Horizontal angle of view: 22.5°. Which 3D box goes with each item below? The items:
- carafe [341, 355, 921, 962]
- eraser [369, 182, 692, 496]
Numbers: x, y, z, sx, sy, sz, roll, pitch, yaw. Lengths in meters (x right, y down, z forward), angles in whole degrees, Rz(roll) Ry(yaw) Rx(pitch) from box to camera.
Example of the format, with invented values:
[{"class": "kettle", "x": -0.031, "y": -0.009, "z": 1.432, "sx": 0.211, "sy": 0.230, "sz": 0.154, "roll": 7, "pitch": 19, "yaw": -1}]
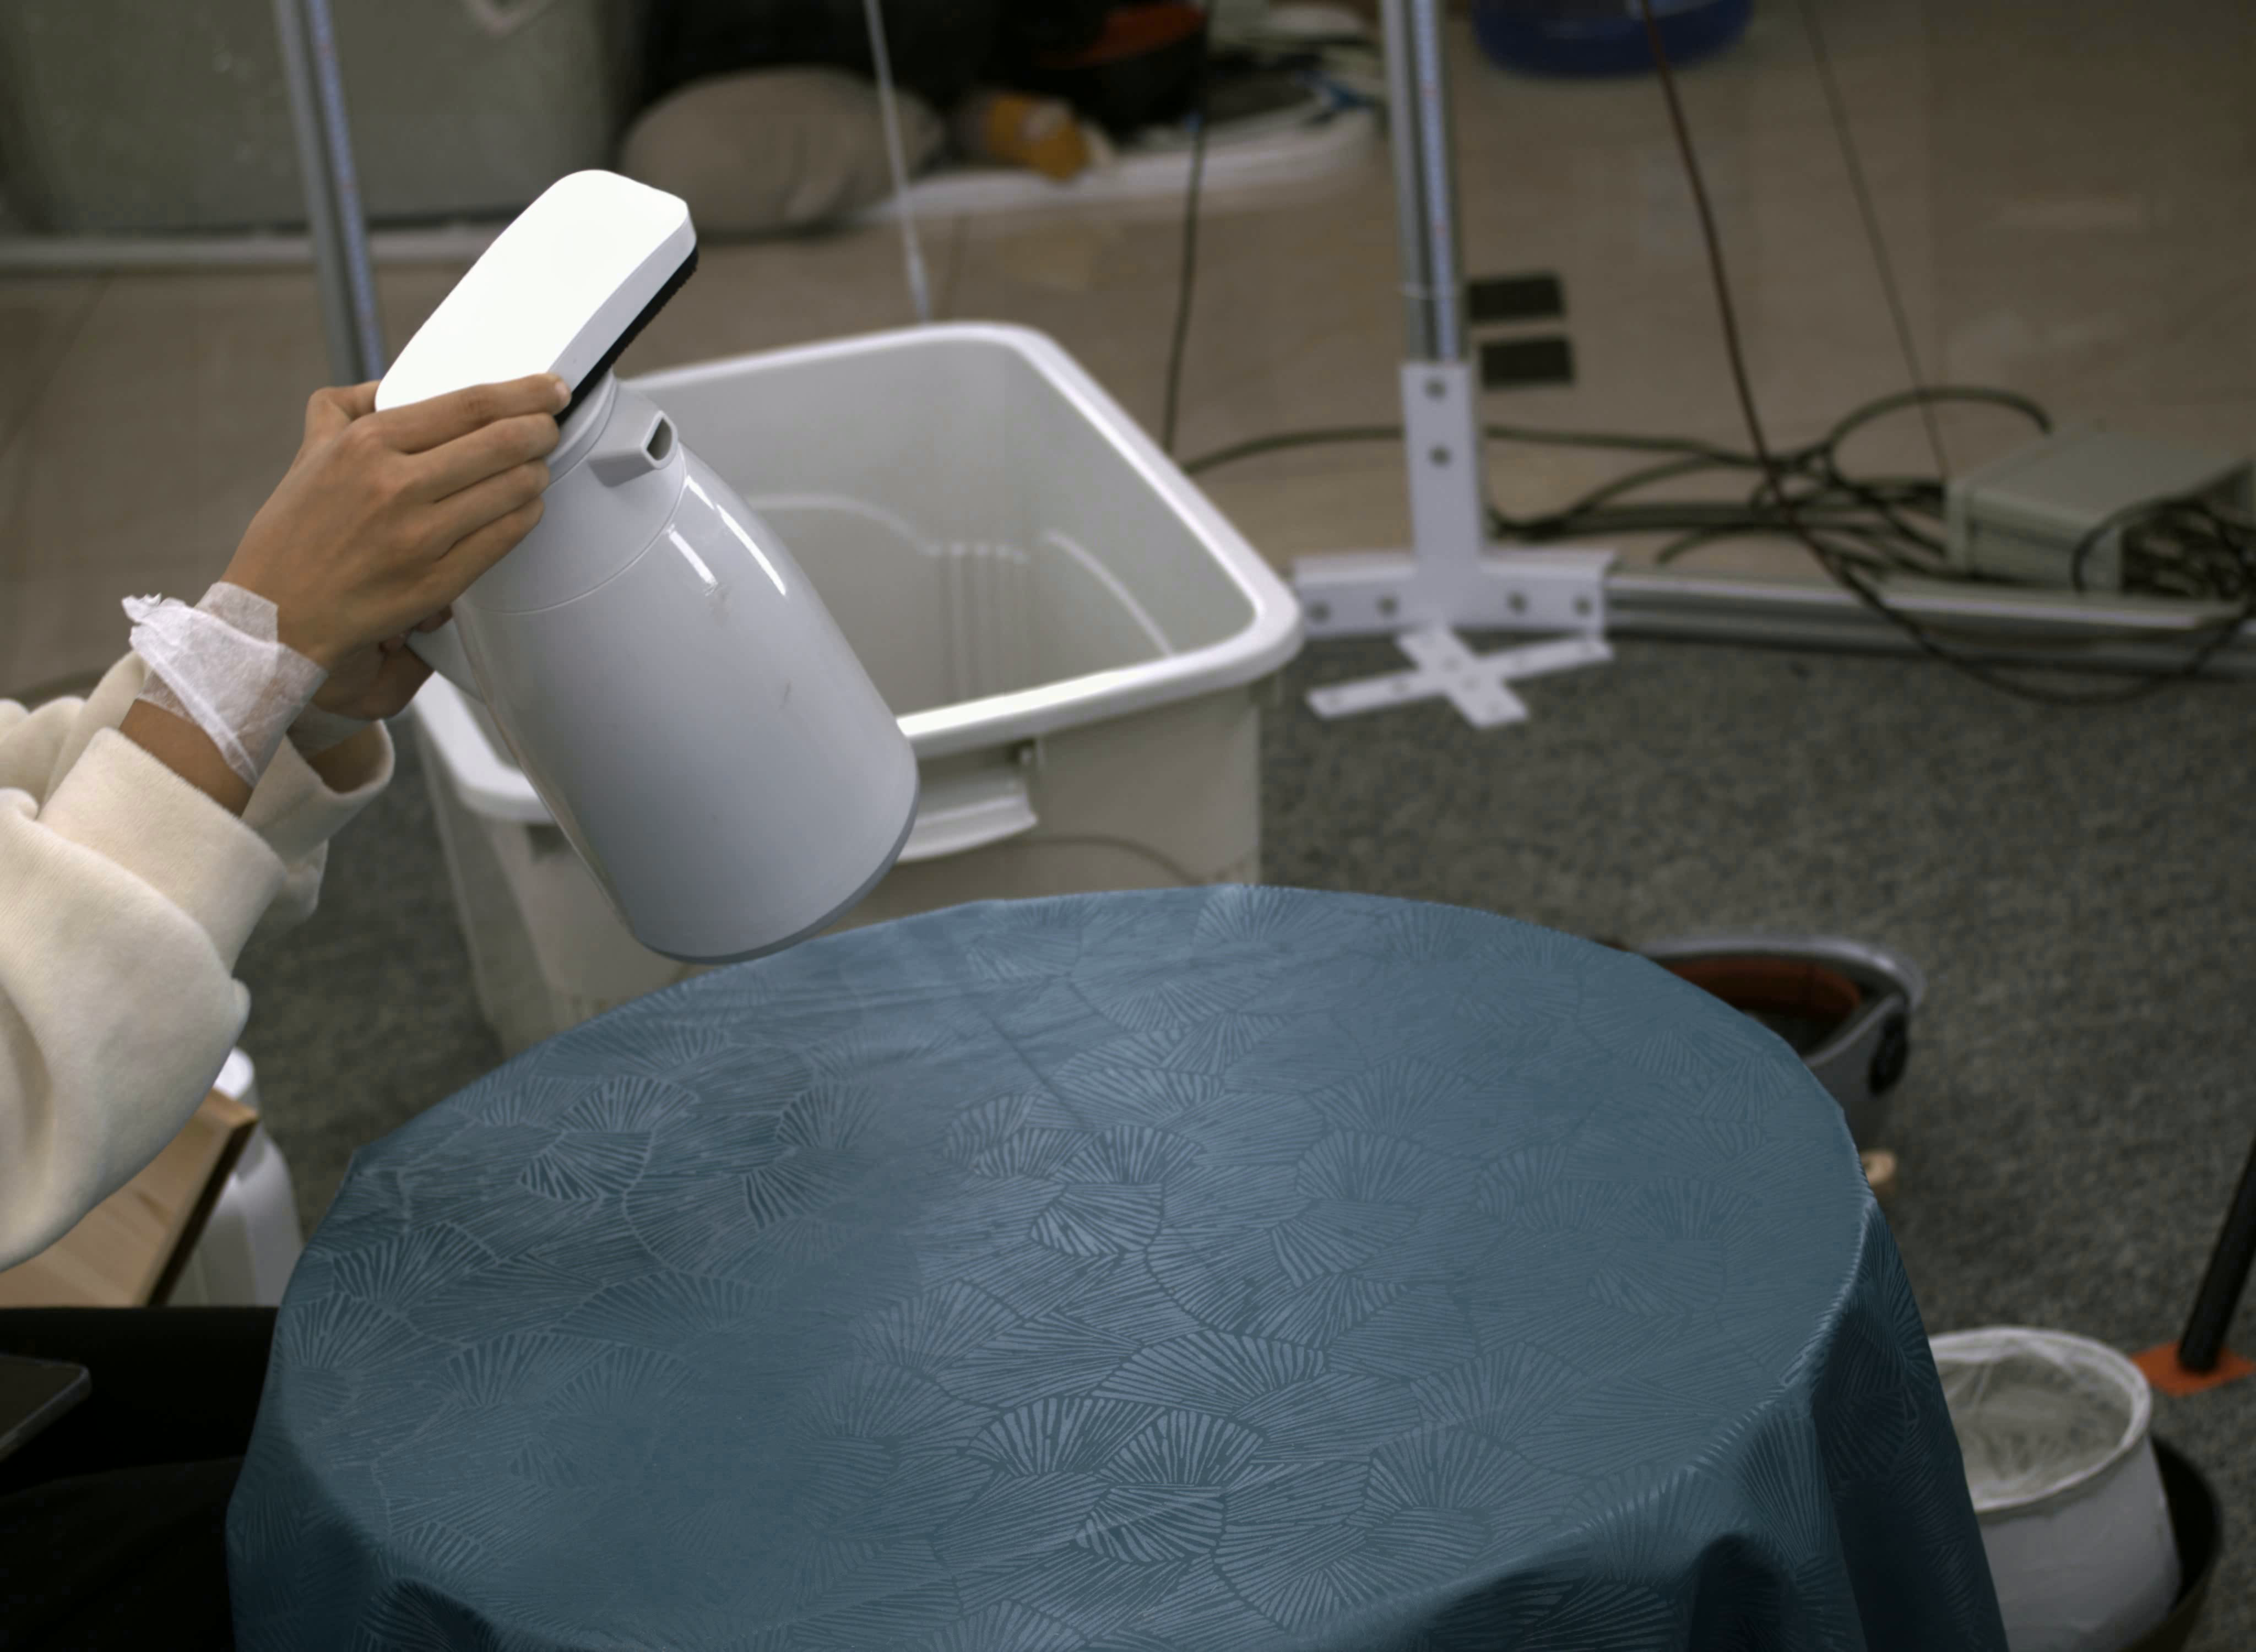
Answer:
[{"class": "carafe", "x": -0.202, "y": -0.076, "z": 2.113, "sx": 0.167, "sy": 0.253, "sz": 0.130, "roll": 0, "pitch": 51, "yaw": 28}, {"class": "eraser", "x": -0.213, "y": -0.176, "z": 2.006, "sx": 0.063, "sy": 0.035, "sz": 0.130, "roll": 22, "pitch": 64, "yaw": 34}]
